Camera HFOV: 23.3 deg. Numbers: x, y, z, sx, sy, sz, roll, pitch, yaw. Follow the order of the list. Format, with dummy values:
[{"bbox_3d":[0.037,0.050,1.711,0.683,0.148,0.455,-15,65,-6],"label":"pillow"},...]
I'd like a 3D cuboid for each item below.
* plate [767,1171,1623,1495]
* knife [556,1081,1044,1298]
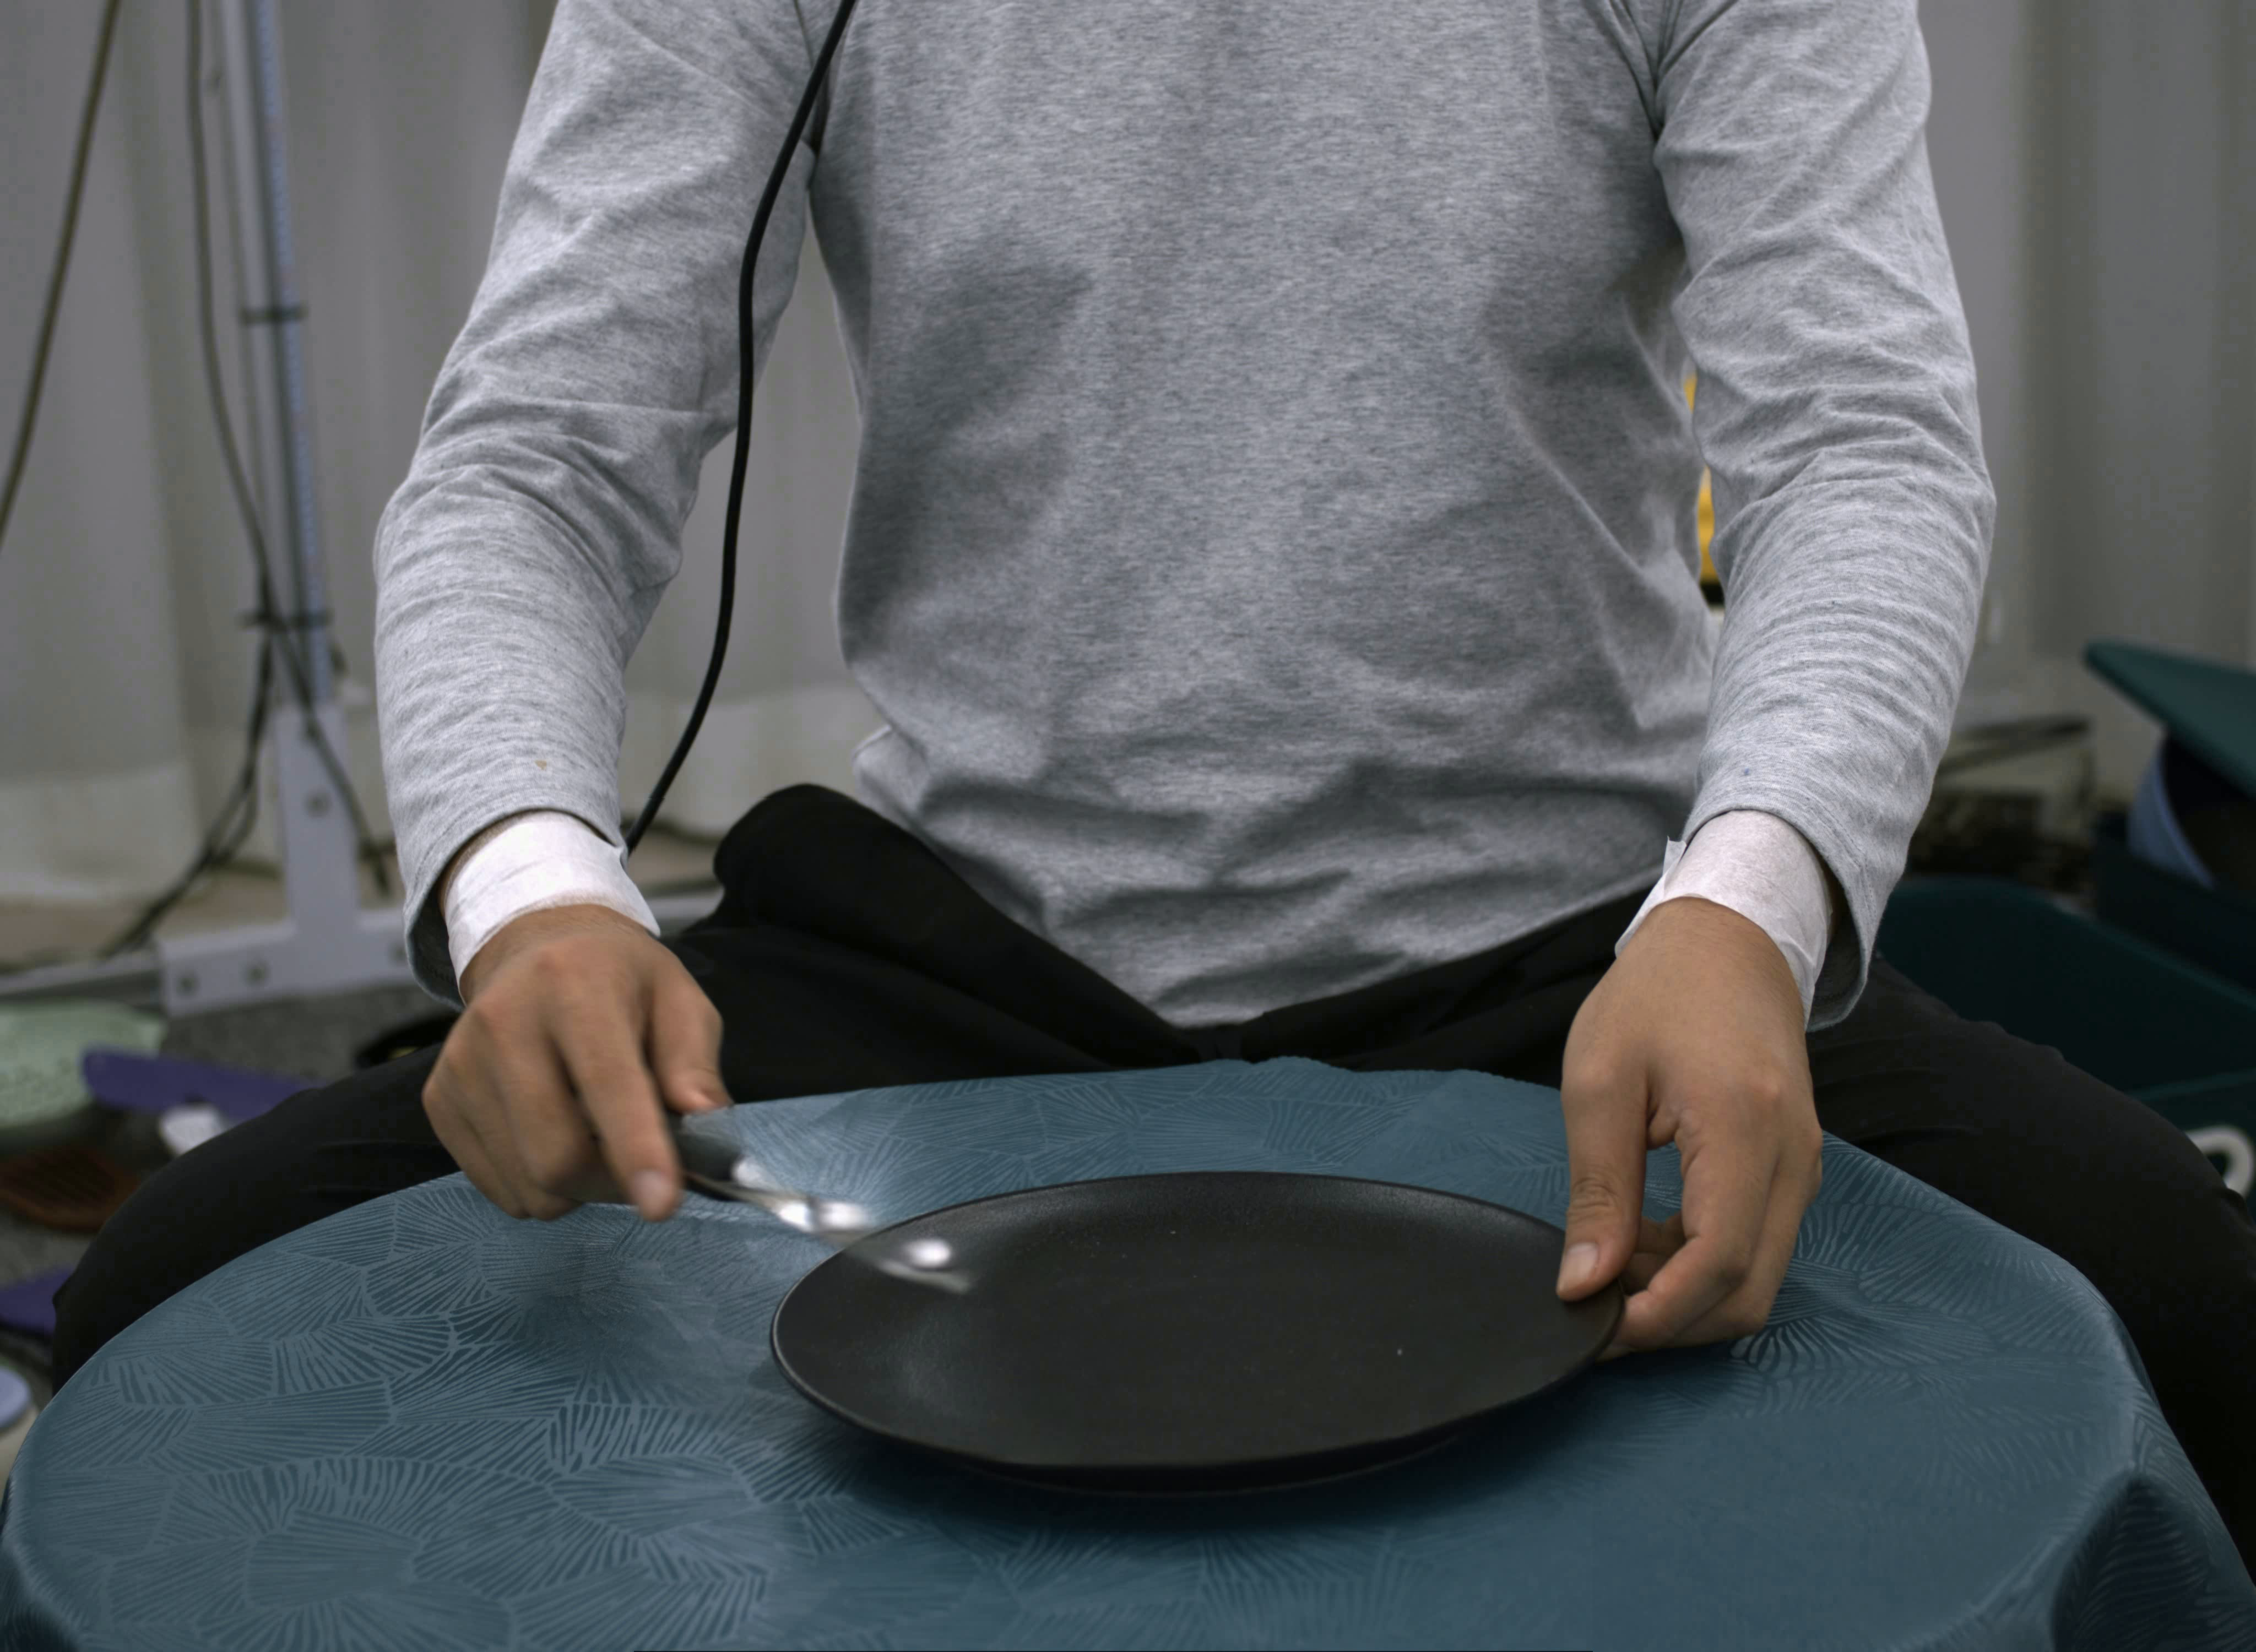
[{"bbox_3d":[0.019,0.146,1.551,0.243,0.023,0.246,-3,15,0],"label":"plate"},{"bbox_3d":[-0.097,0.104,1.544,0.024,0.016,0.240,-2,12,-37],"label":"knife"}]
